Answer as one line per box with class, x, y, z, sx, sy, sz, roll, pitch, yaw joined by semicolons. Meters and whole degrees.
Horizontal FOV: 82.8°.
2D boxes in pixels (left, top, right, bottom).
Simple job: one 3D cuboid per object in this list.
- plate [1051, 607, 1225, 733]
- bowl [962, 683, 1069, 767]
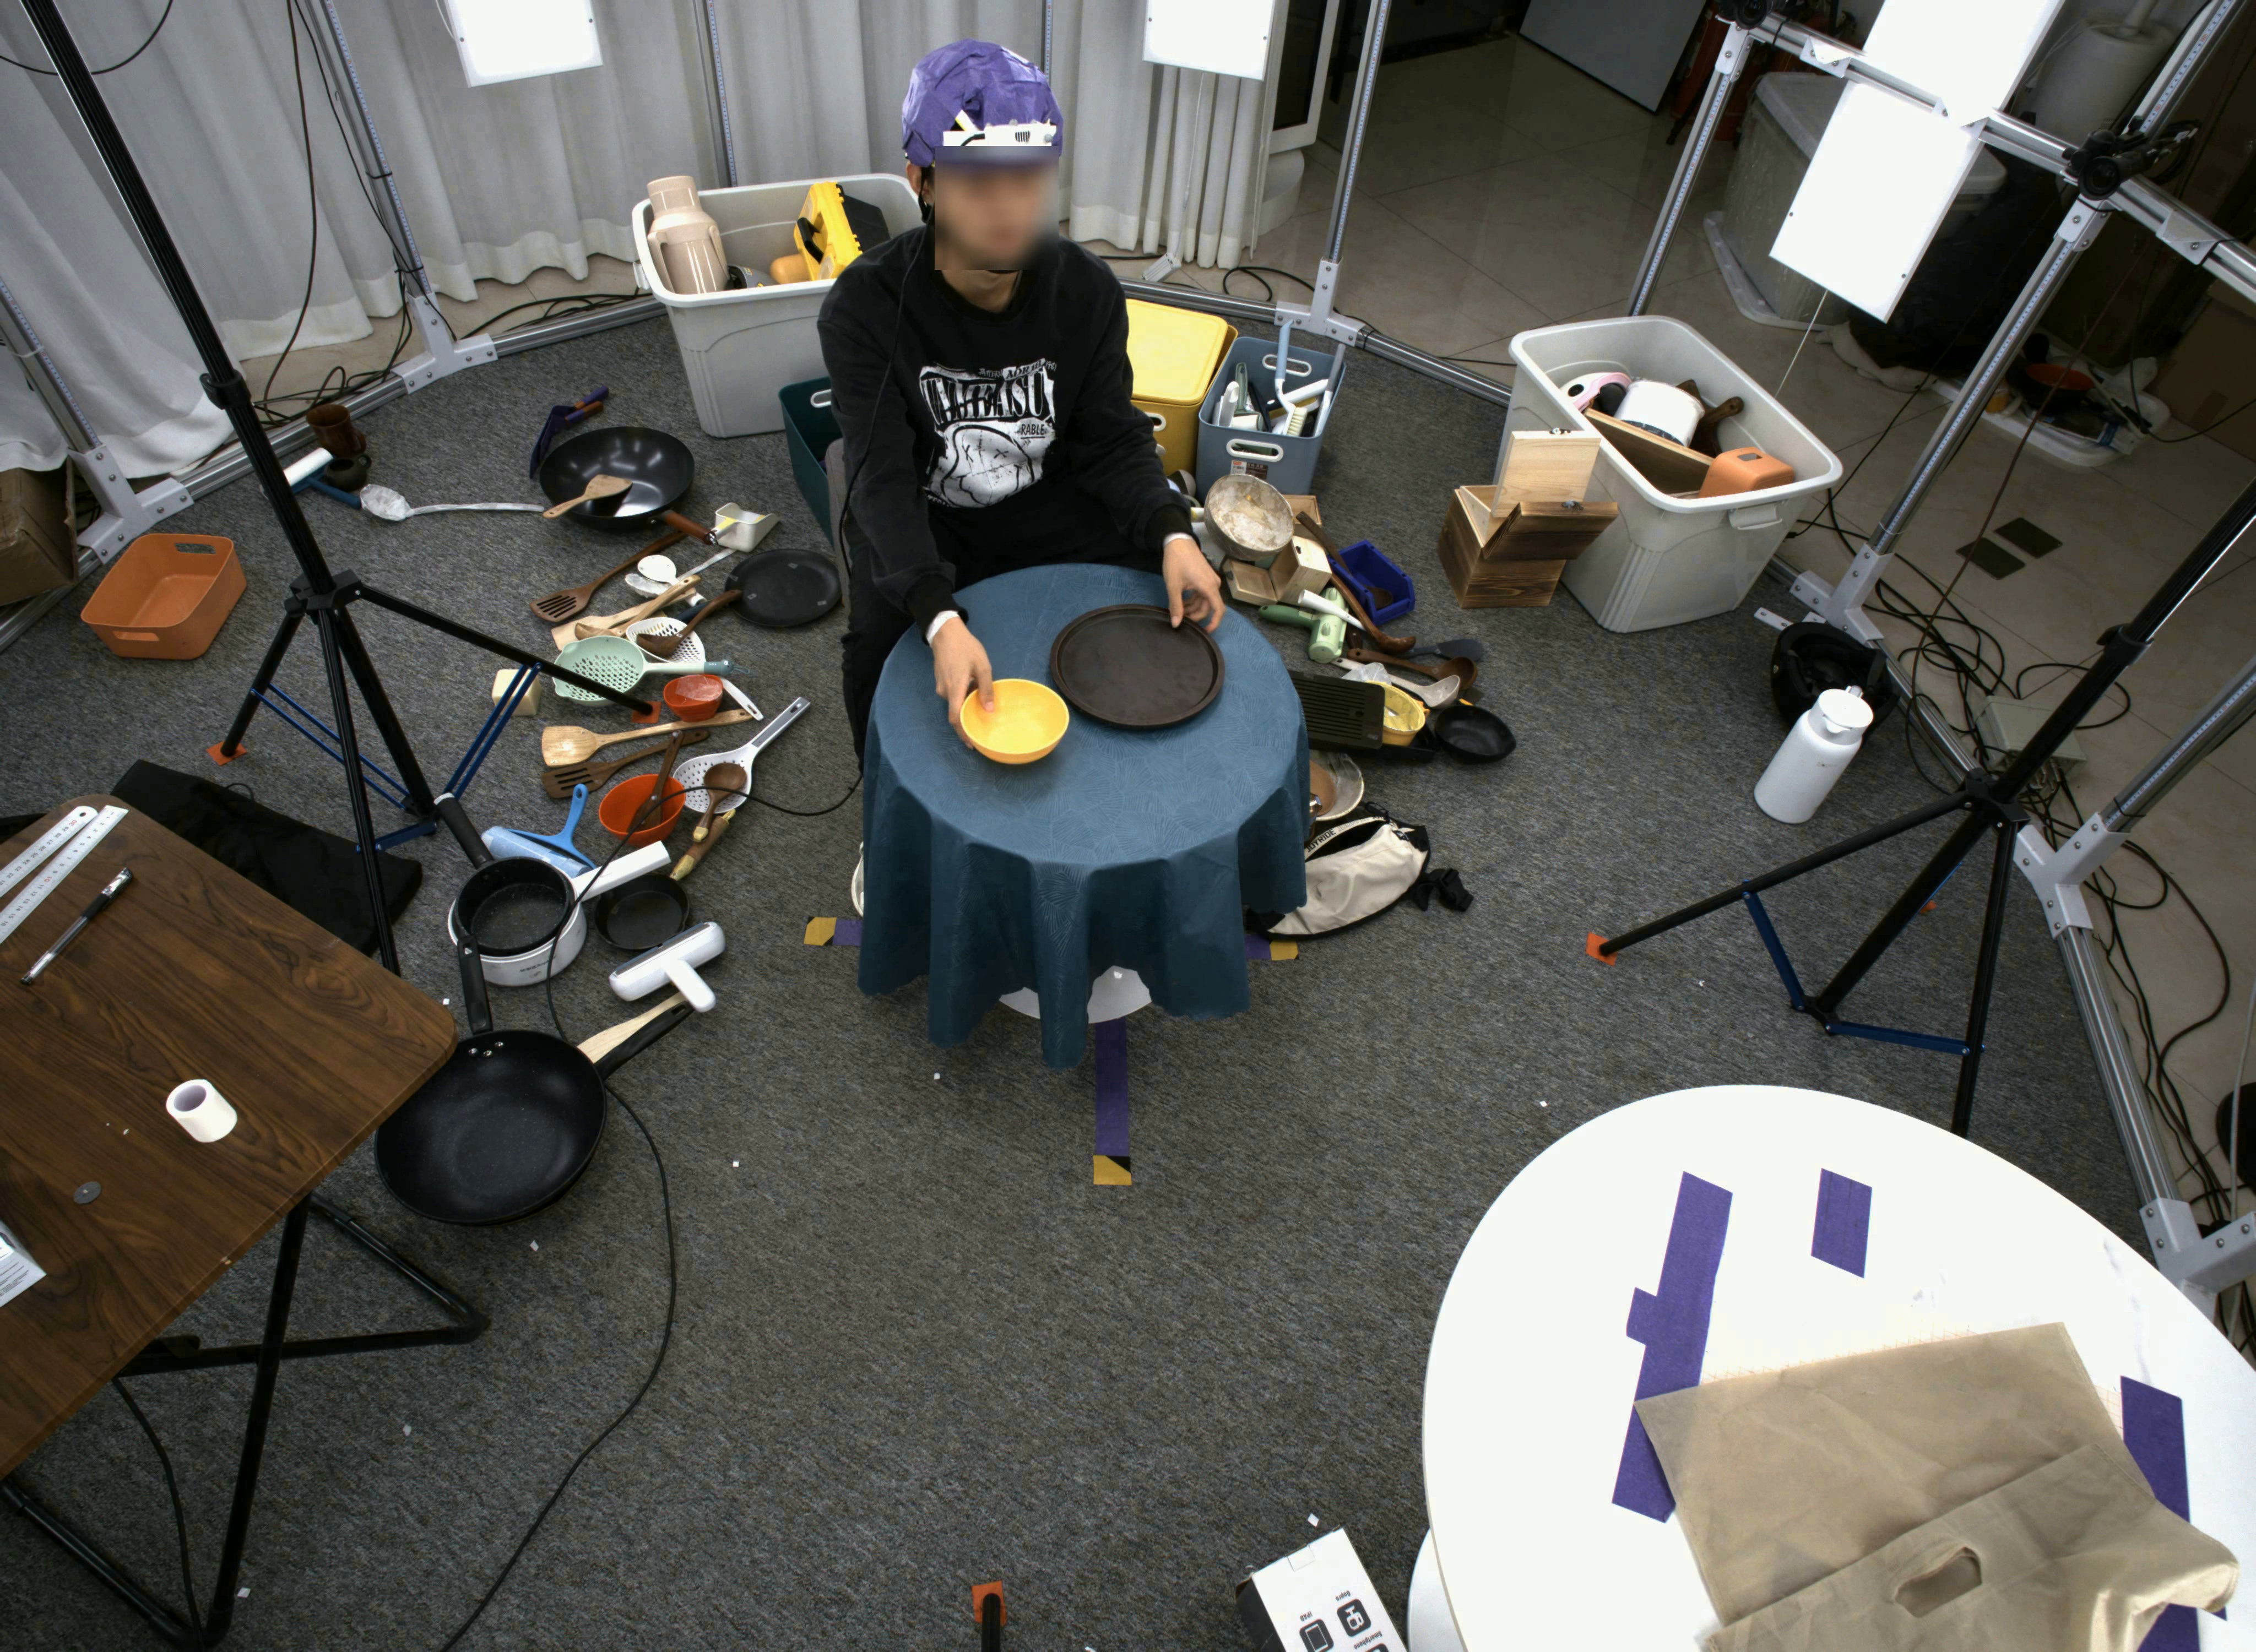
plate;0.015;-0.229;1.871;0.254;0.028;0.261;1;49;-1
bowl;-0.153;-0.126;1.746;0.145;0.058;0.149;3;45;-3
